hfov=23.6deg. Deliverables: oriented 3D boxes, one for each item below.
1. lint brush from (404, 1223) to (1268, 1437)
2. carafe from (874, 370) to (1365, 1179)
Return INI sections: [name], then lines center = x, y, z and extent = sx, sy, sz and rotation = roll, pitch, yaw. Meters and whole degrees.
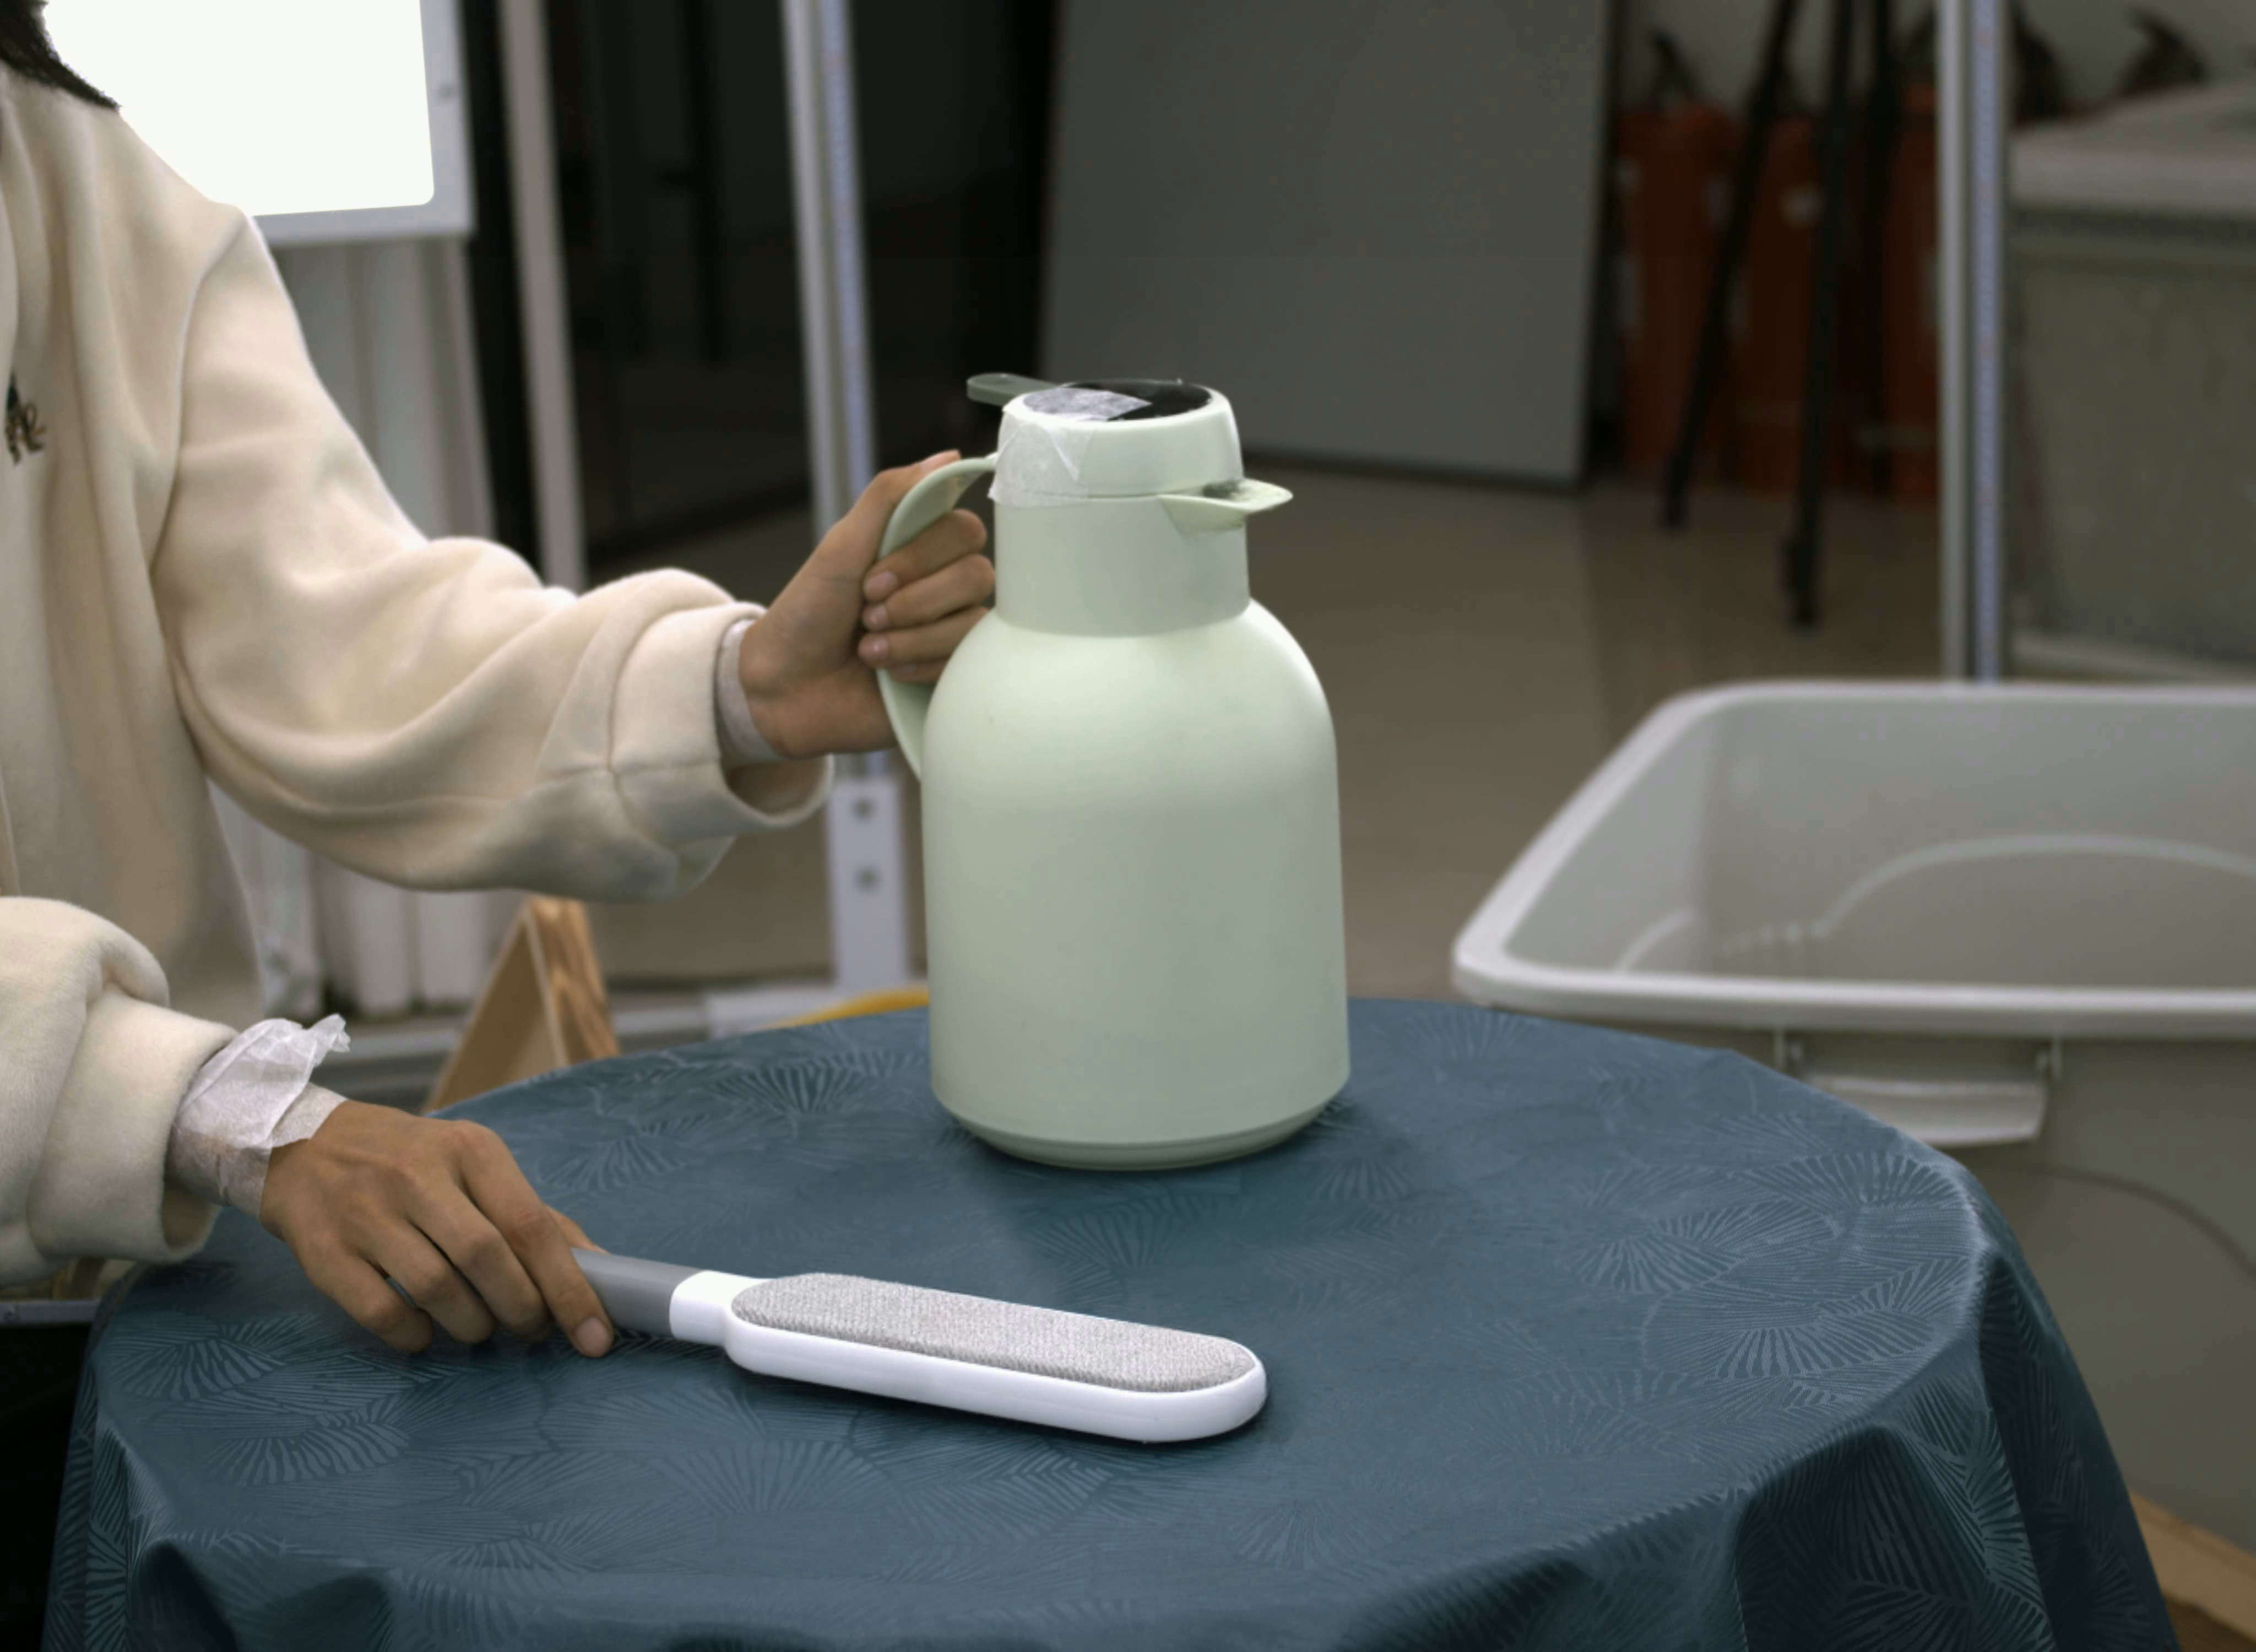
[lint brush]
center = -0.094, 0.148, 1.623
extent = 0.310, 0.021, 0.059
rotation = 6, 18, 32
[carafe]
center = -0.009, -0.023, 1.824
extent = 0.188, 0.259, 0.141
rotation = 7, 19, 45
